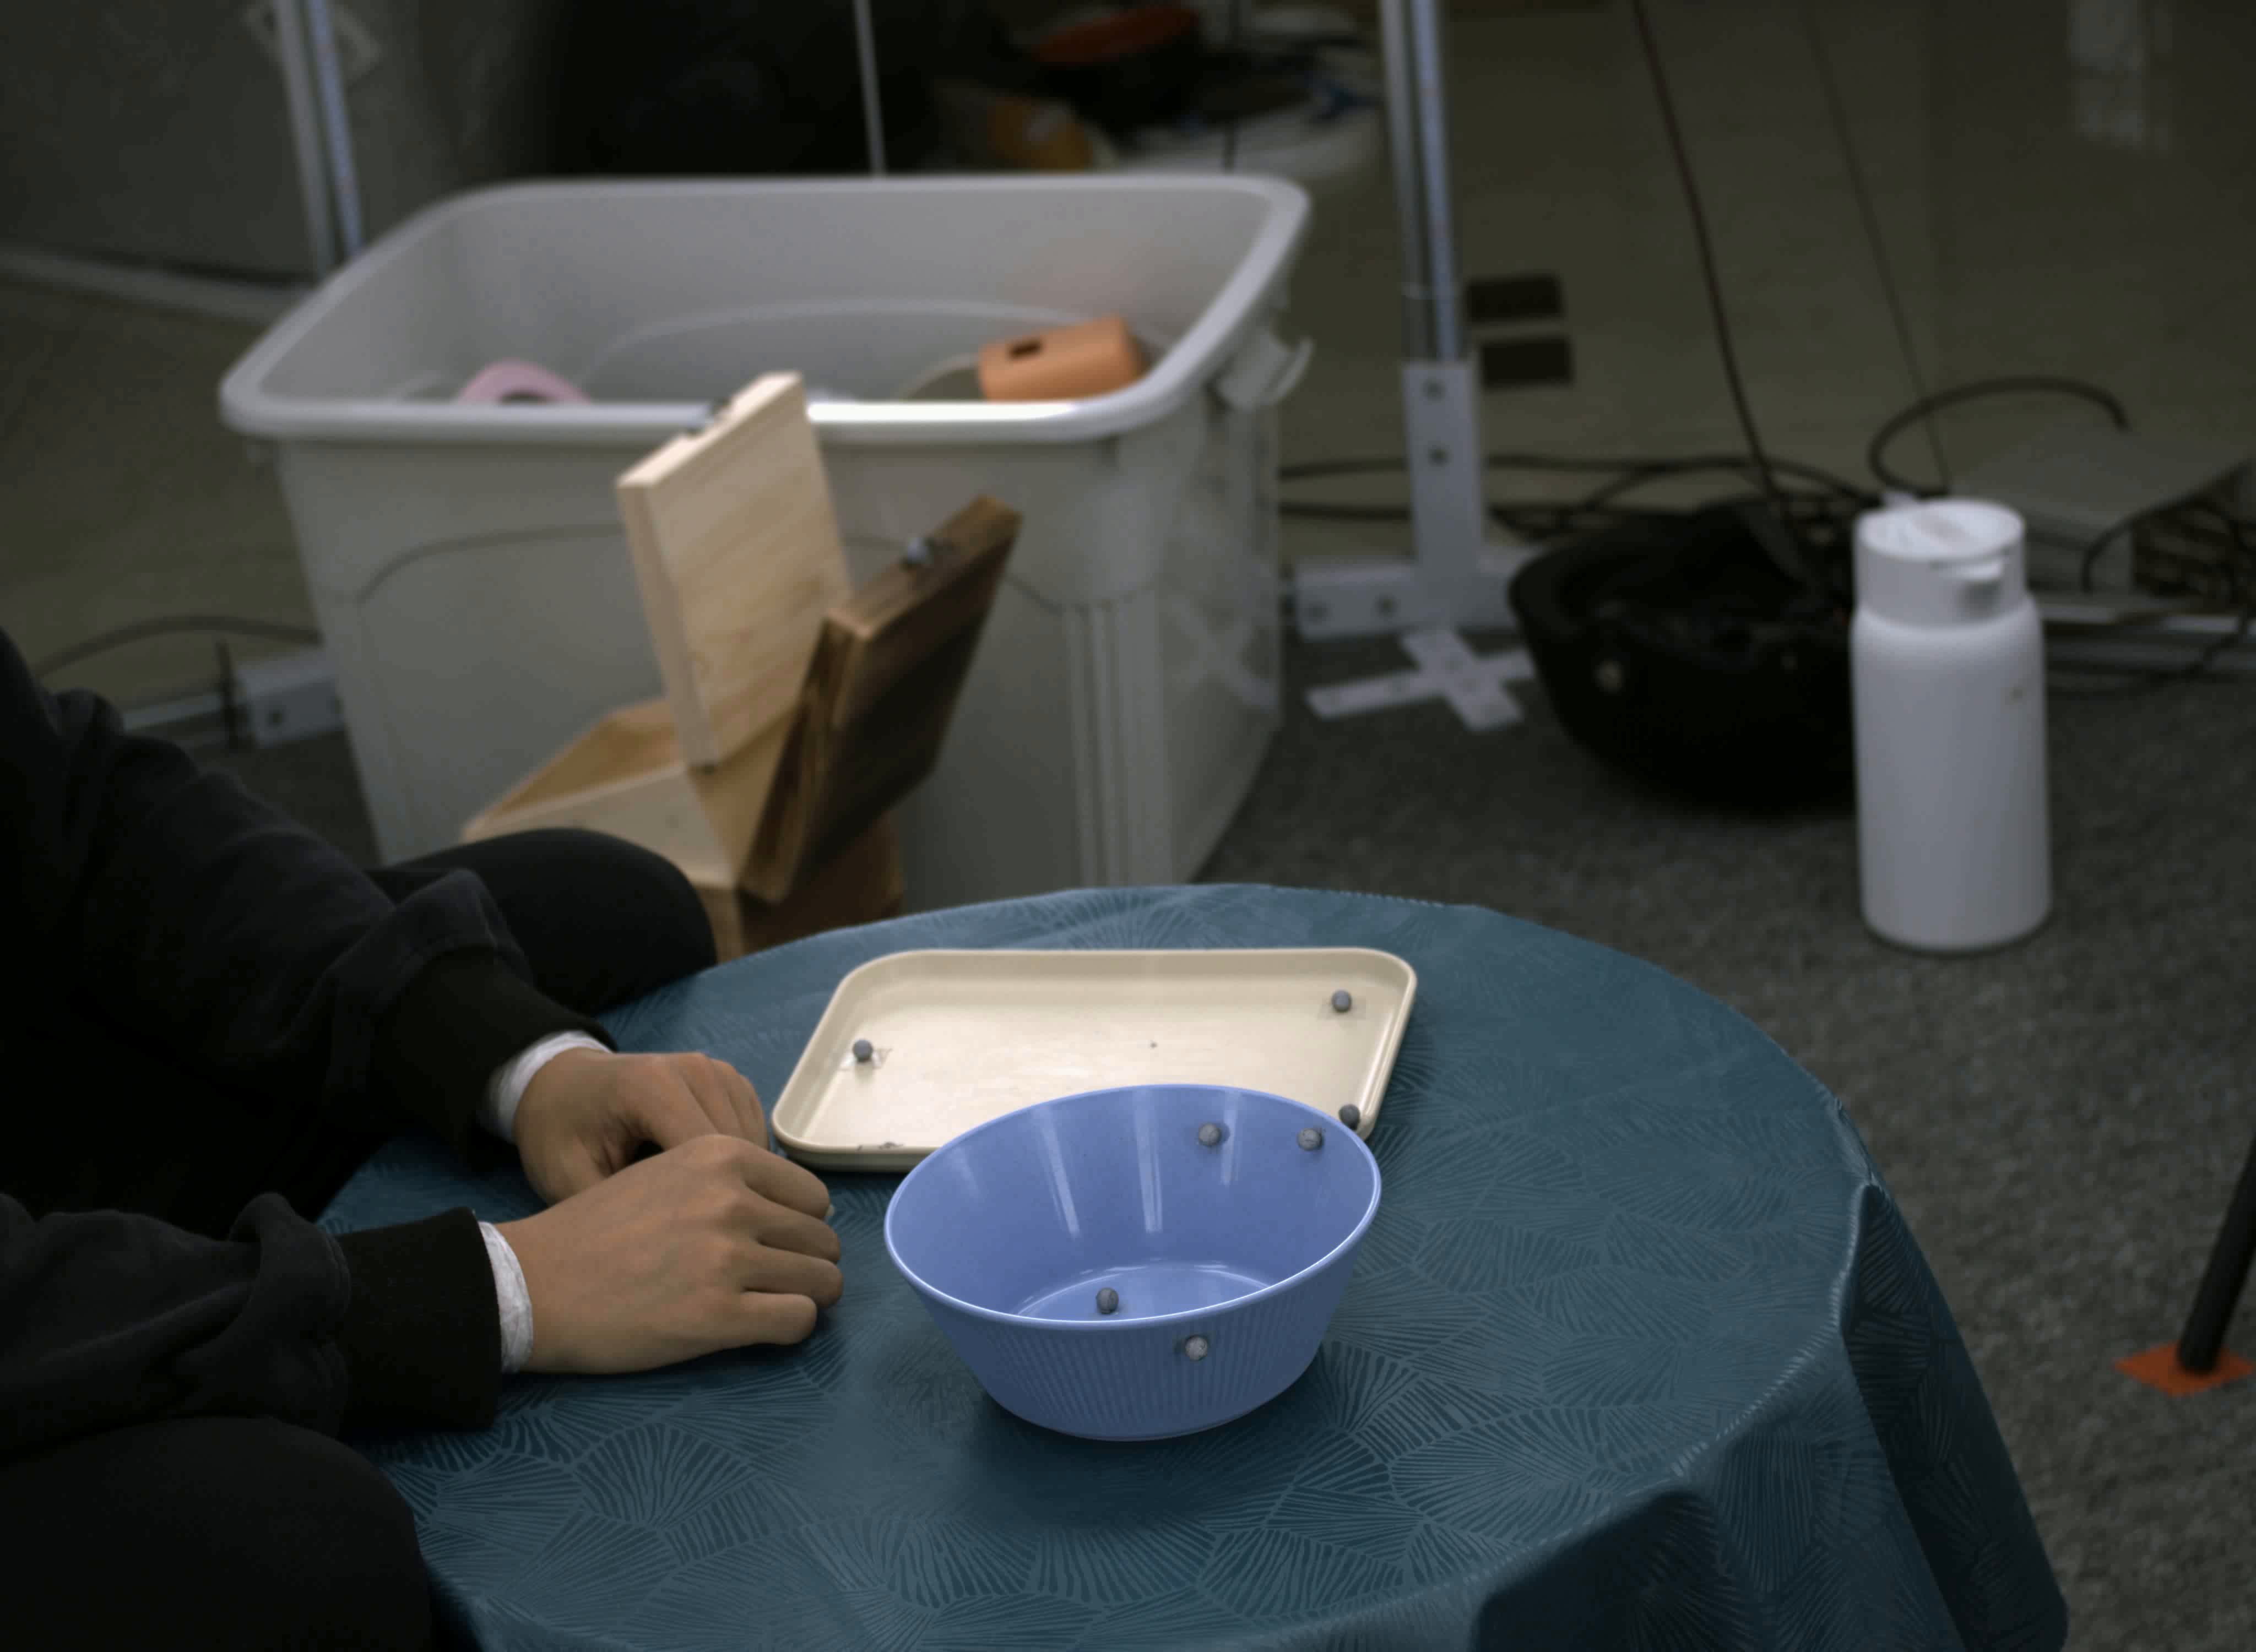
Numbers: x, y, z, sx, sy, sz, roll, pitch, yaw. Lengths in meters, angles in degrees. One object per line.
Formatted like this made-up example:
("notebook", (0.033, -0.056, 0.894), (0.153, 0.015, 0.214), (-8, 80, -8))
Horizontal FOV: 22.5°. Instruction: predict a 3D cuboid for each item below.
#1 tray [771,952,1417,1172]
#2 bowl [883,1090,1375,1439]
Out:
("tray", (-0.011, 0.094, 2.232), (0.239, 0.018, 0.169), (0, 25, 13))
("bowl", (0.003, 0.162, 2.018), (0.176, 0.071, 0.173), (-4, 25, 2))
